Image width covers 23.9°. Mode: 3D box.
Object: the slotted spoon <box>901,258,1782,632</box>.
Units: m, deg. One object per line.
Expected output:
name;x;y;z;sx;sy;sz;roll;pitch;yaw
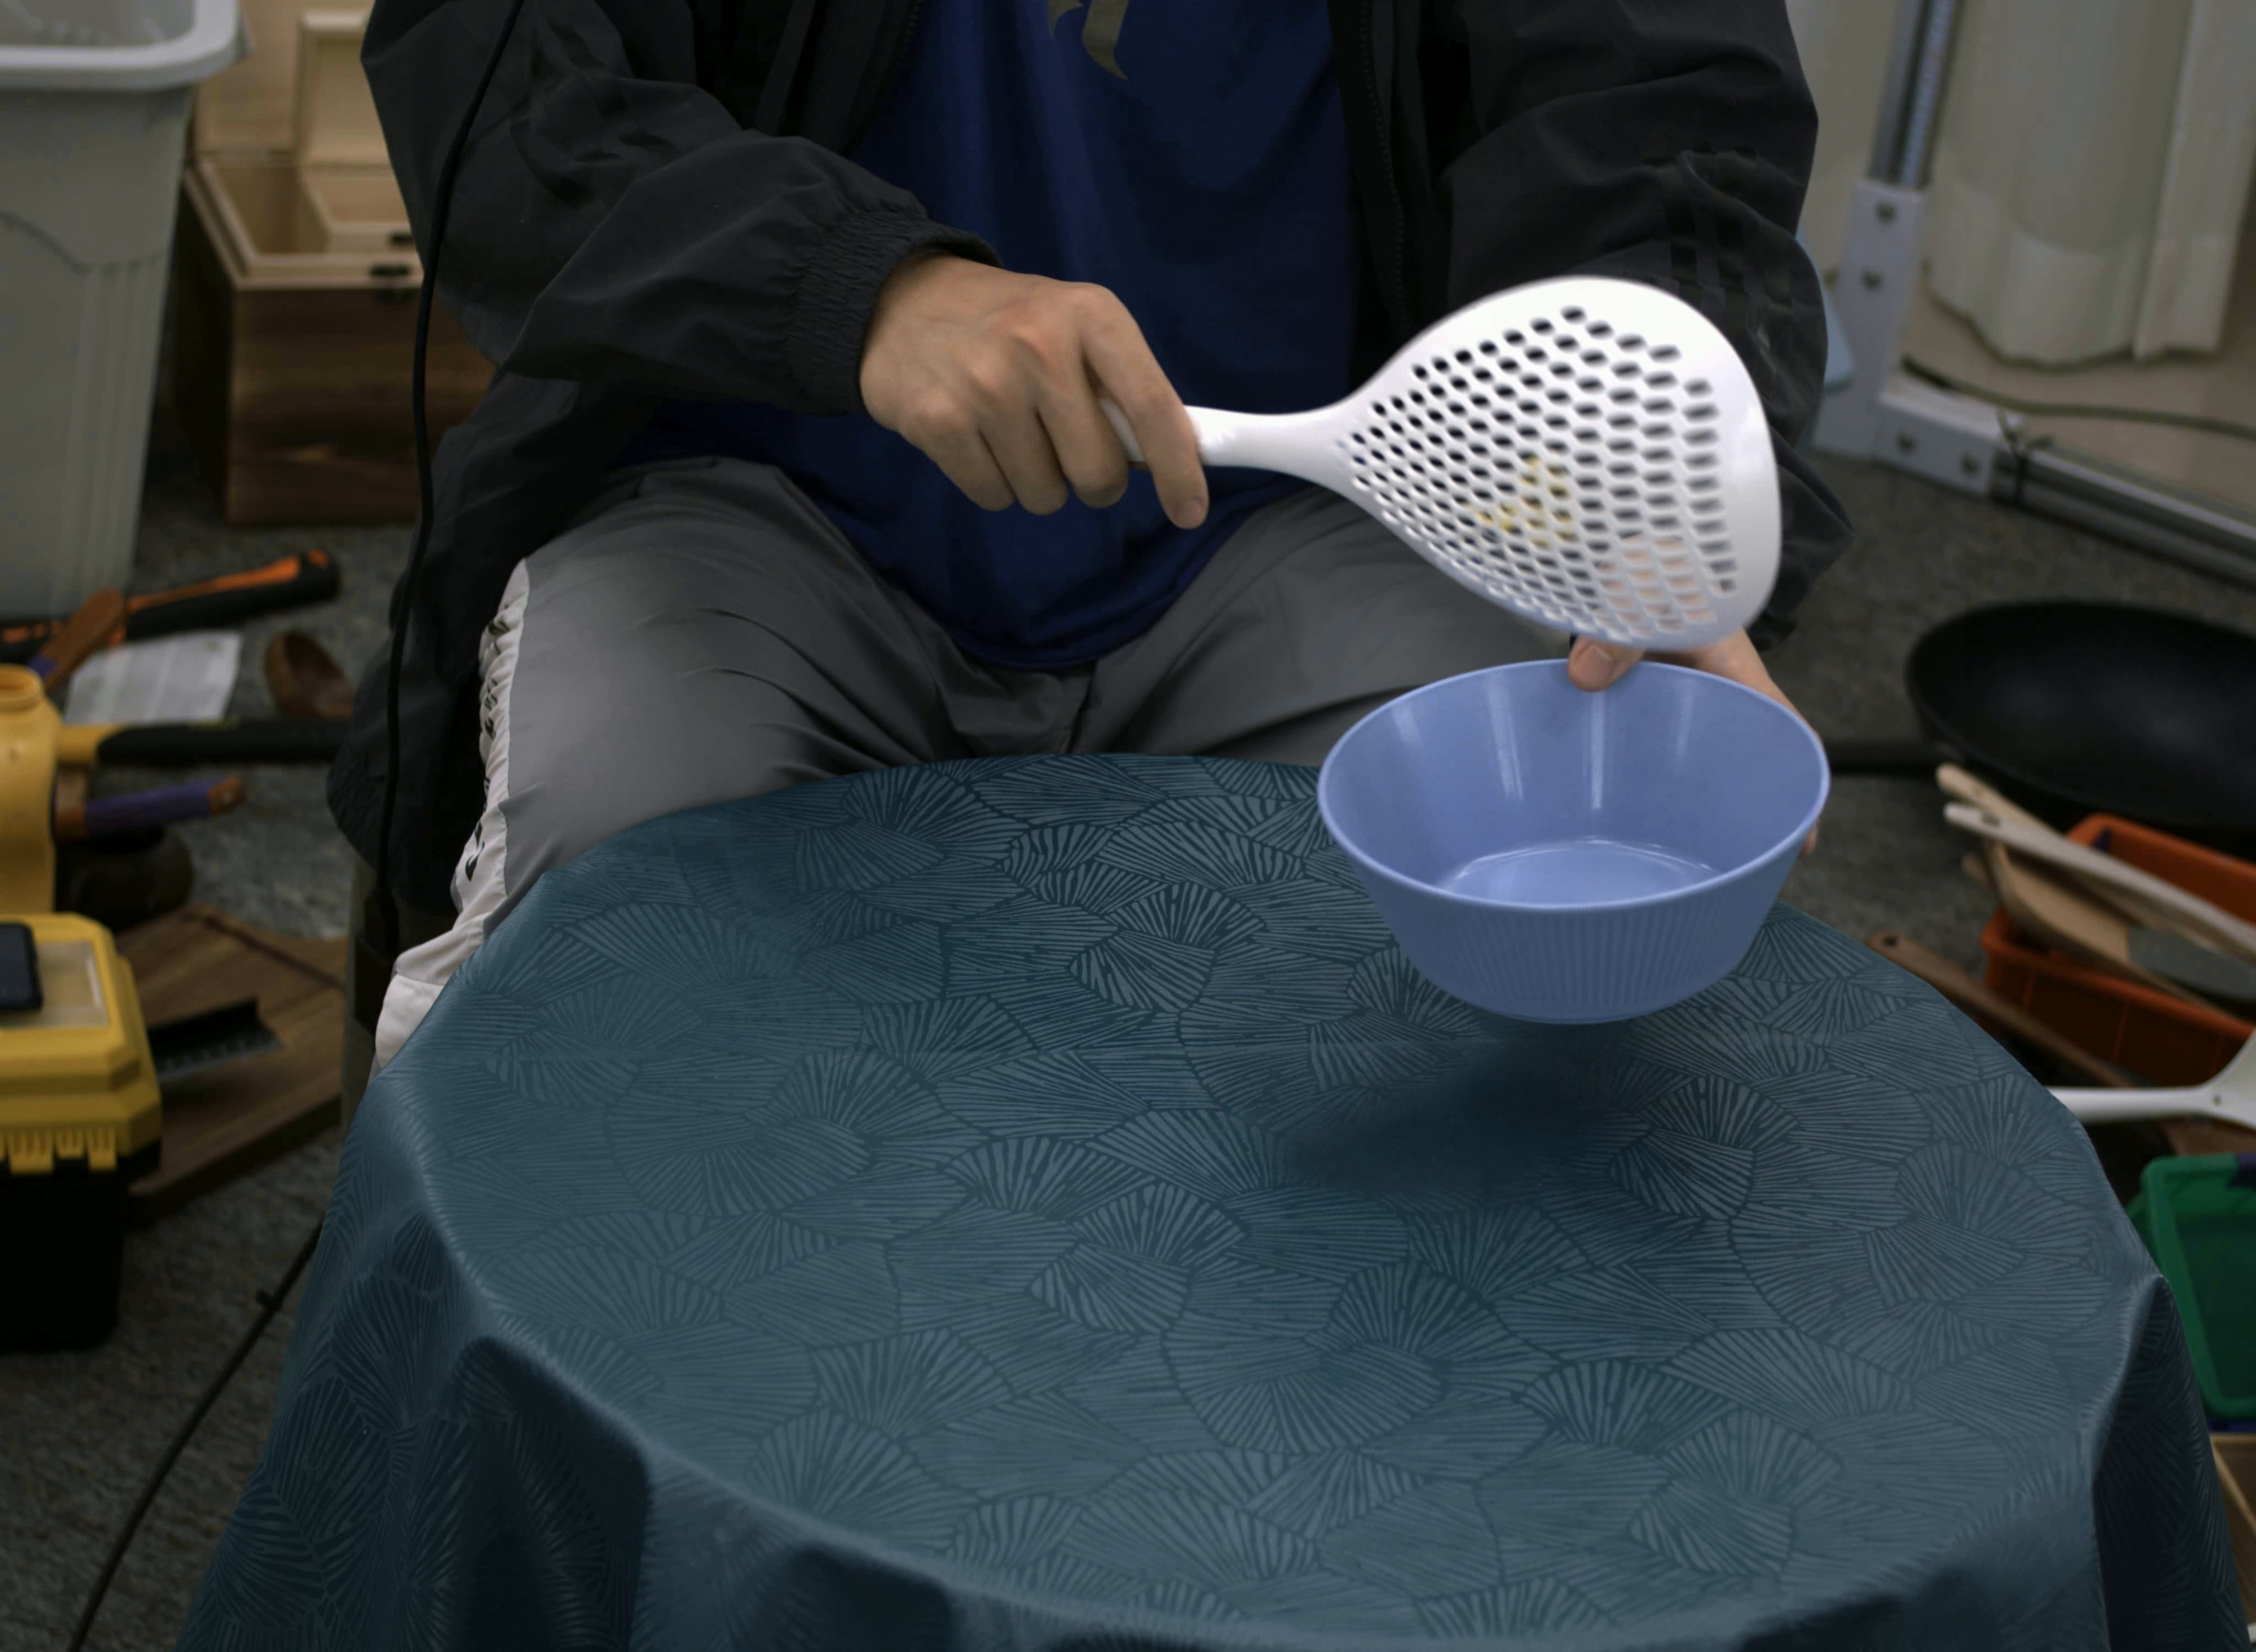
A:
slotted spoon;0.067;-0.133;1.854;0.350;0.136;0.050;9;32;39

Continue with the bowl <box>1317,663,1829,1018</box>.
bowl;0.154;0.011;1.842;0.175;0.070;0.177;-4;28;2
